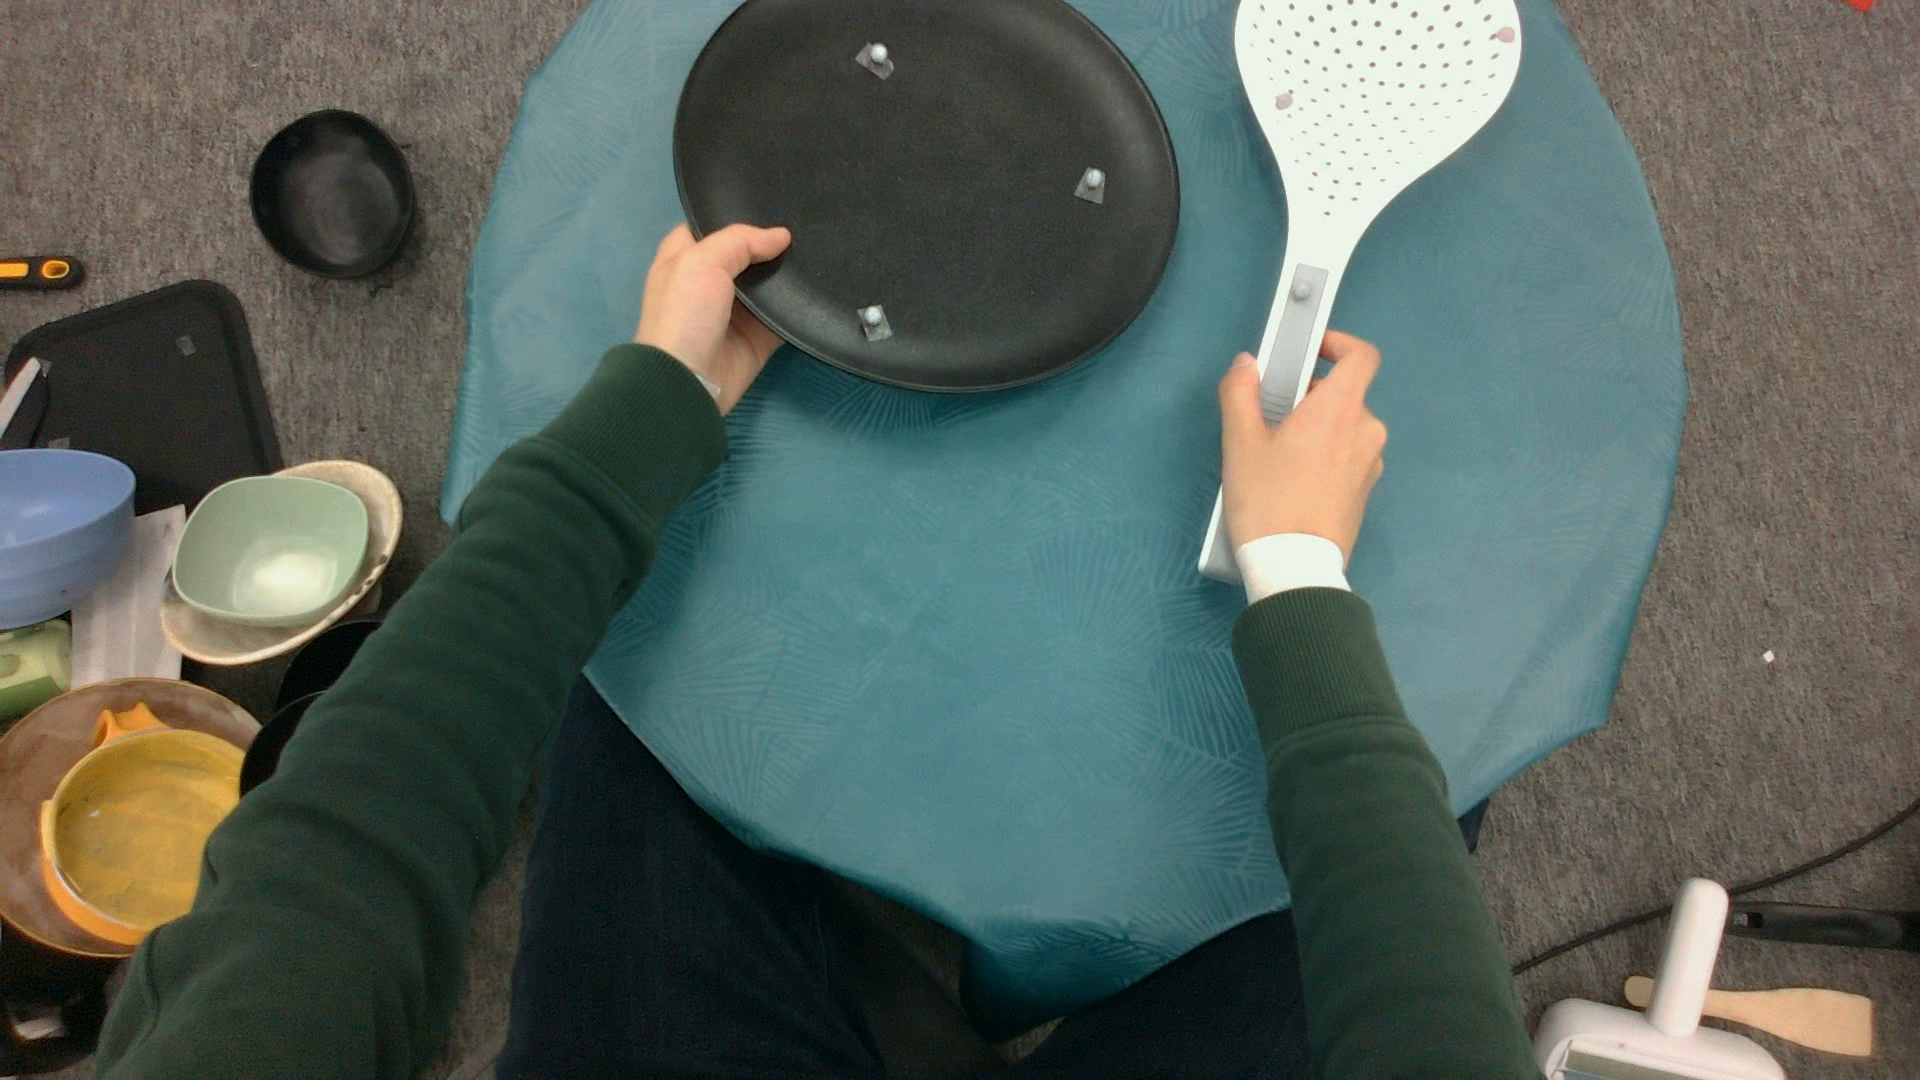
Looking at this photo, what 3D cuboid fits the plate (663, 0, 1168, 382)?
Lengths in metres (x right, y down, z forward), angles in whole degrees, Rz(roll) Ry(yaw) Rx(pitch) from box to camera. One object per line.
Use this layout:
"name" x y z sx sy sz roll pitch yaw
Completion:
"plate" -0.019 -0.184 0.665 0.244 0.023 0.245 4 71 -11

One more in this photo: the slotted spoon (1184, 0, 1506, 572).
"slotted spoon" 0.168 -0.151 0.665 0.136 0.045 0.350 16 74 8
